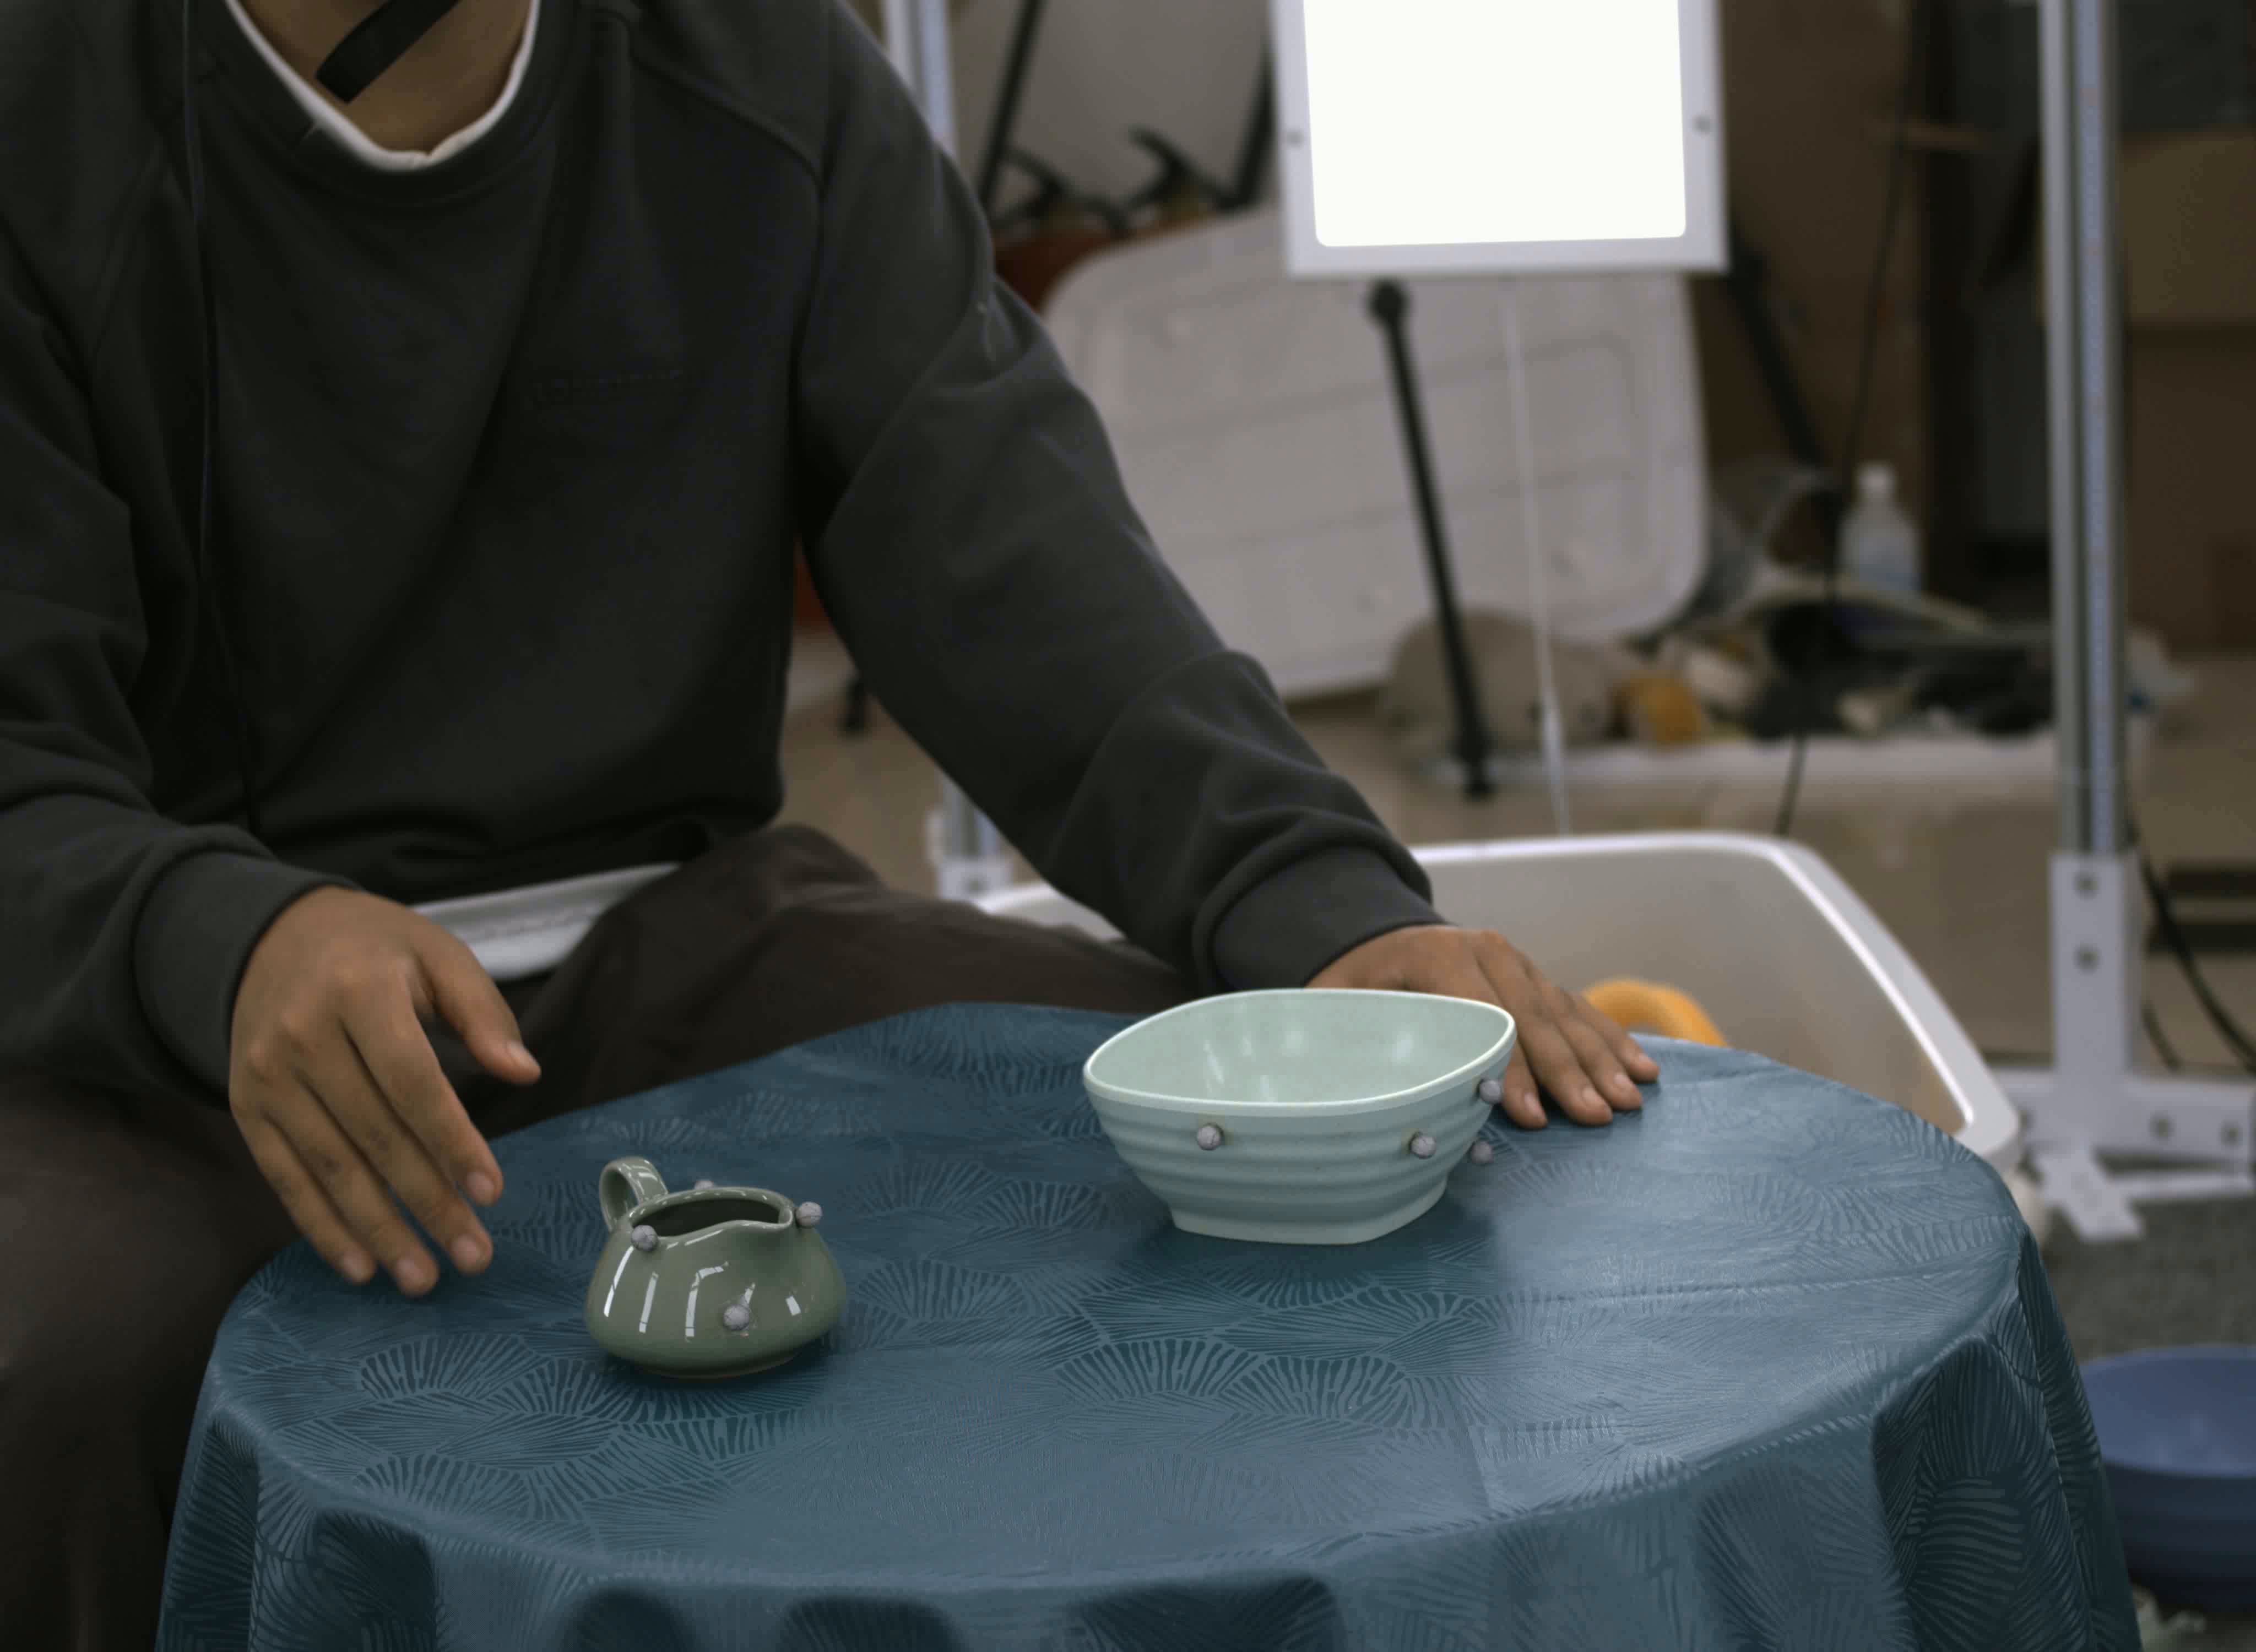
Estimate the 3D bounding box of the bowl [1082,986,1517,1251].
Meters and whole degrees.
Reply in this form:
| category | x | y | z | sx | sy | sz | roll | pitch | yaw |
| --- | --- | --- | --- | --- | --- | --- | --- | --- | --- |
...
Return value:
| category | x | y | z | sx | sy | sz | roll | pitch | yaw |
| --- | --- | --- | --- | --- | --- | --- | --- | --- | --- |
| bowl | 0.060 | 0.102 | 1.863 | 0.151 | 0.059 | 0.151 | -4 | 14 | 0 |

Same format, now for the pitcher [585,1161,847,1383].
| category | x | y | z | sx | sy | sz | roll | pitch | yaw |
| --- | --- | --- | --- | --- | --- | --- | --- | --- | --- |
| pitcher | -0.137 | 0.142 | 1.768 | 0.082 | 0.056 | 0.115 | -13 | 15 | -33 |
